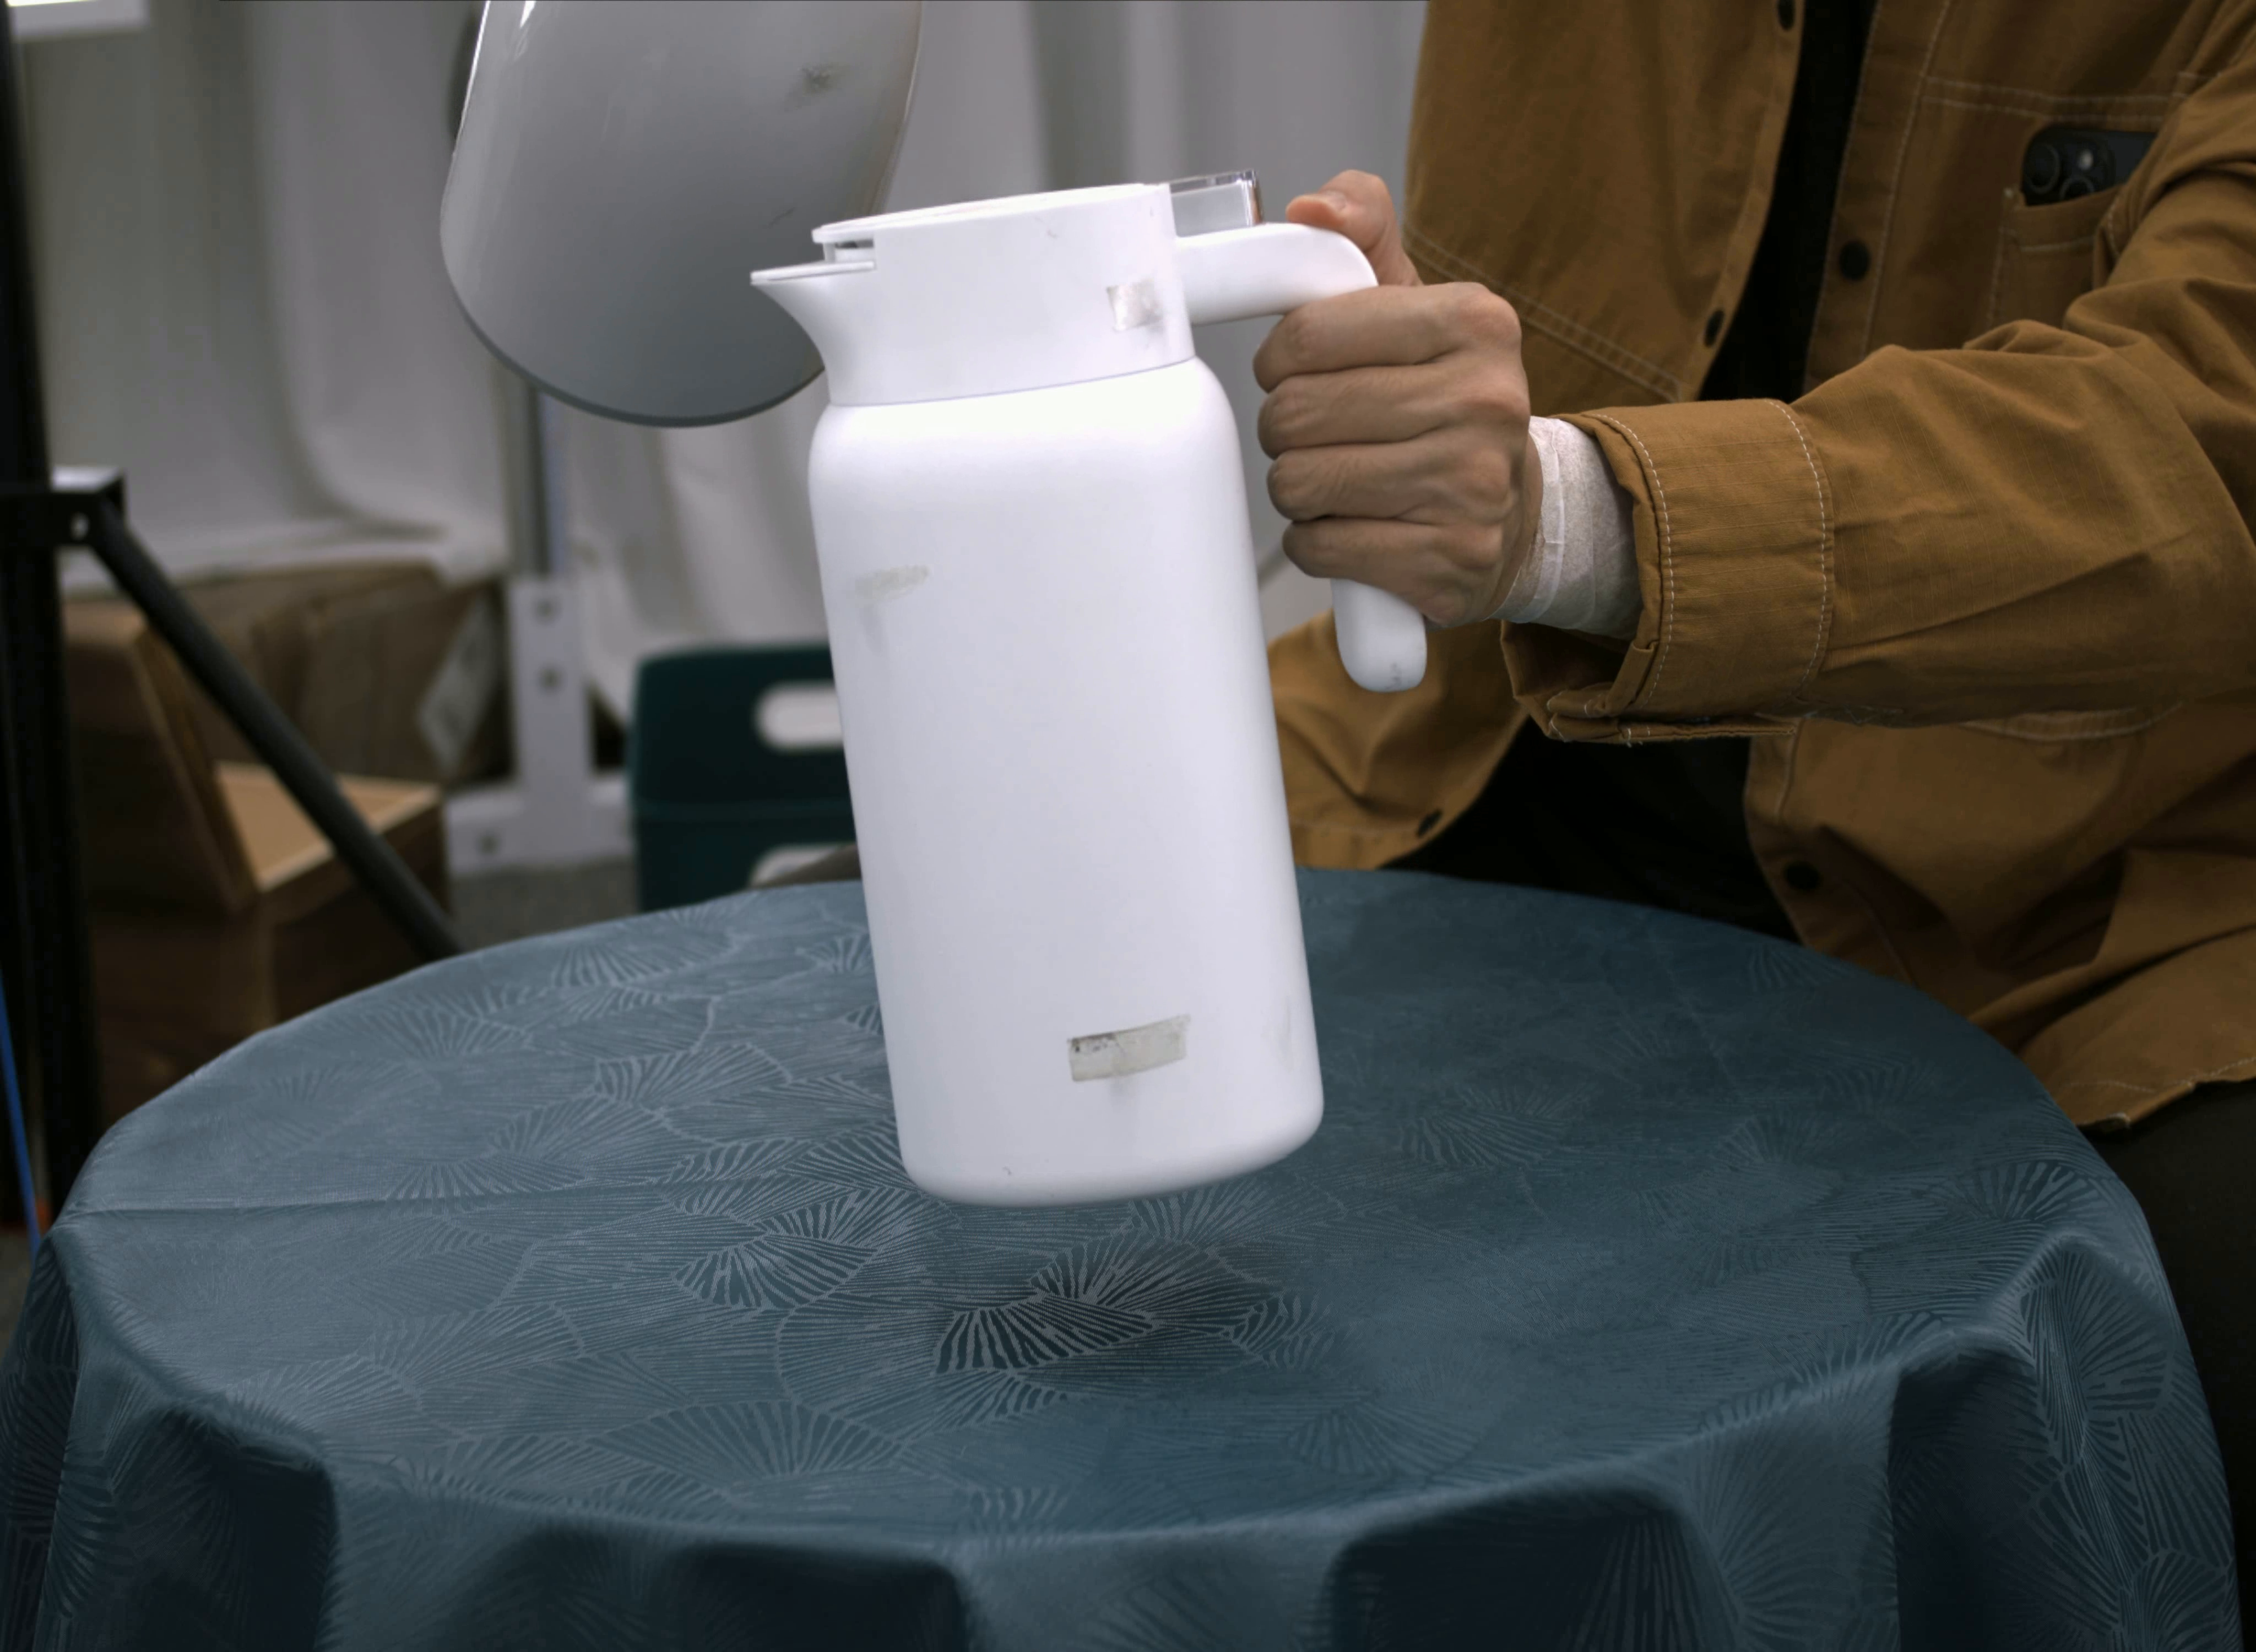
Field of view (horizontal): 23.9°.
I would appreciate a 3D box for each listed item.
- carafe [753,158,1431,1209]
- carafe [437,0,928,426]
[{"bbox_3d":[-0.003,-0.041,1.436,0.170,0.269,0.125,-9,6,-16],"label":"carafe"},{"bbox_3d":[-0.132,-0.257,1.564,0.130,0.249,0.170,-26,65,-29],"label":"carafe"}]
